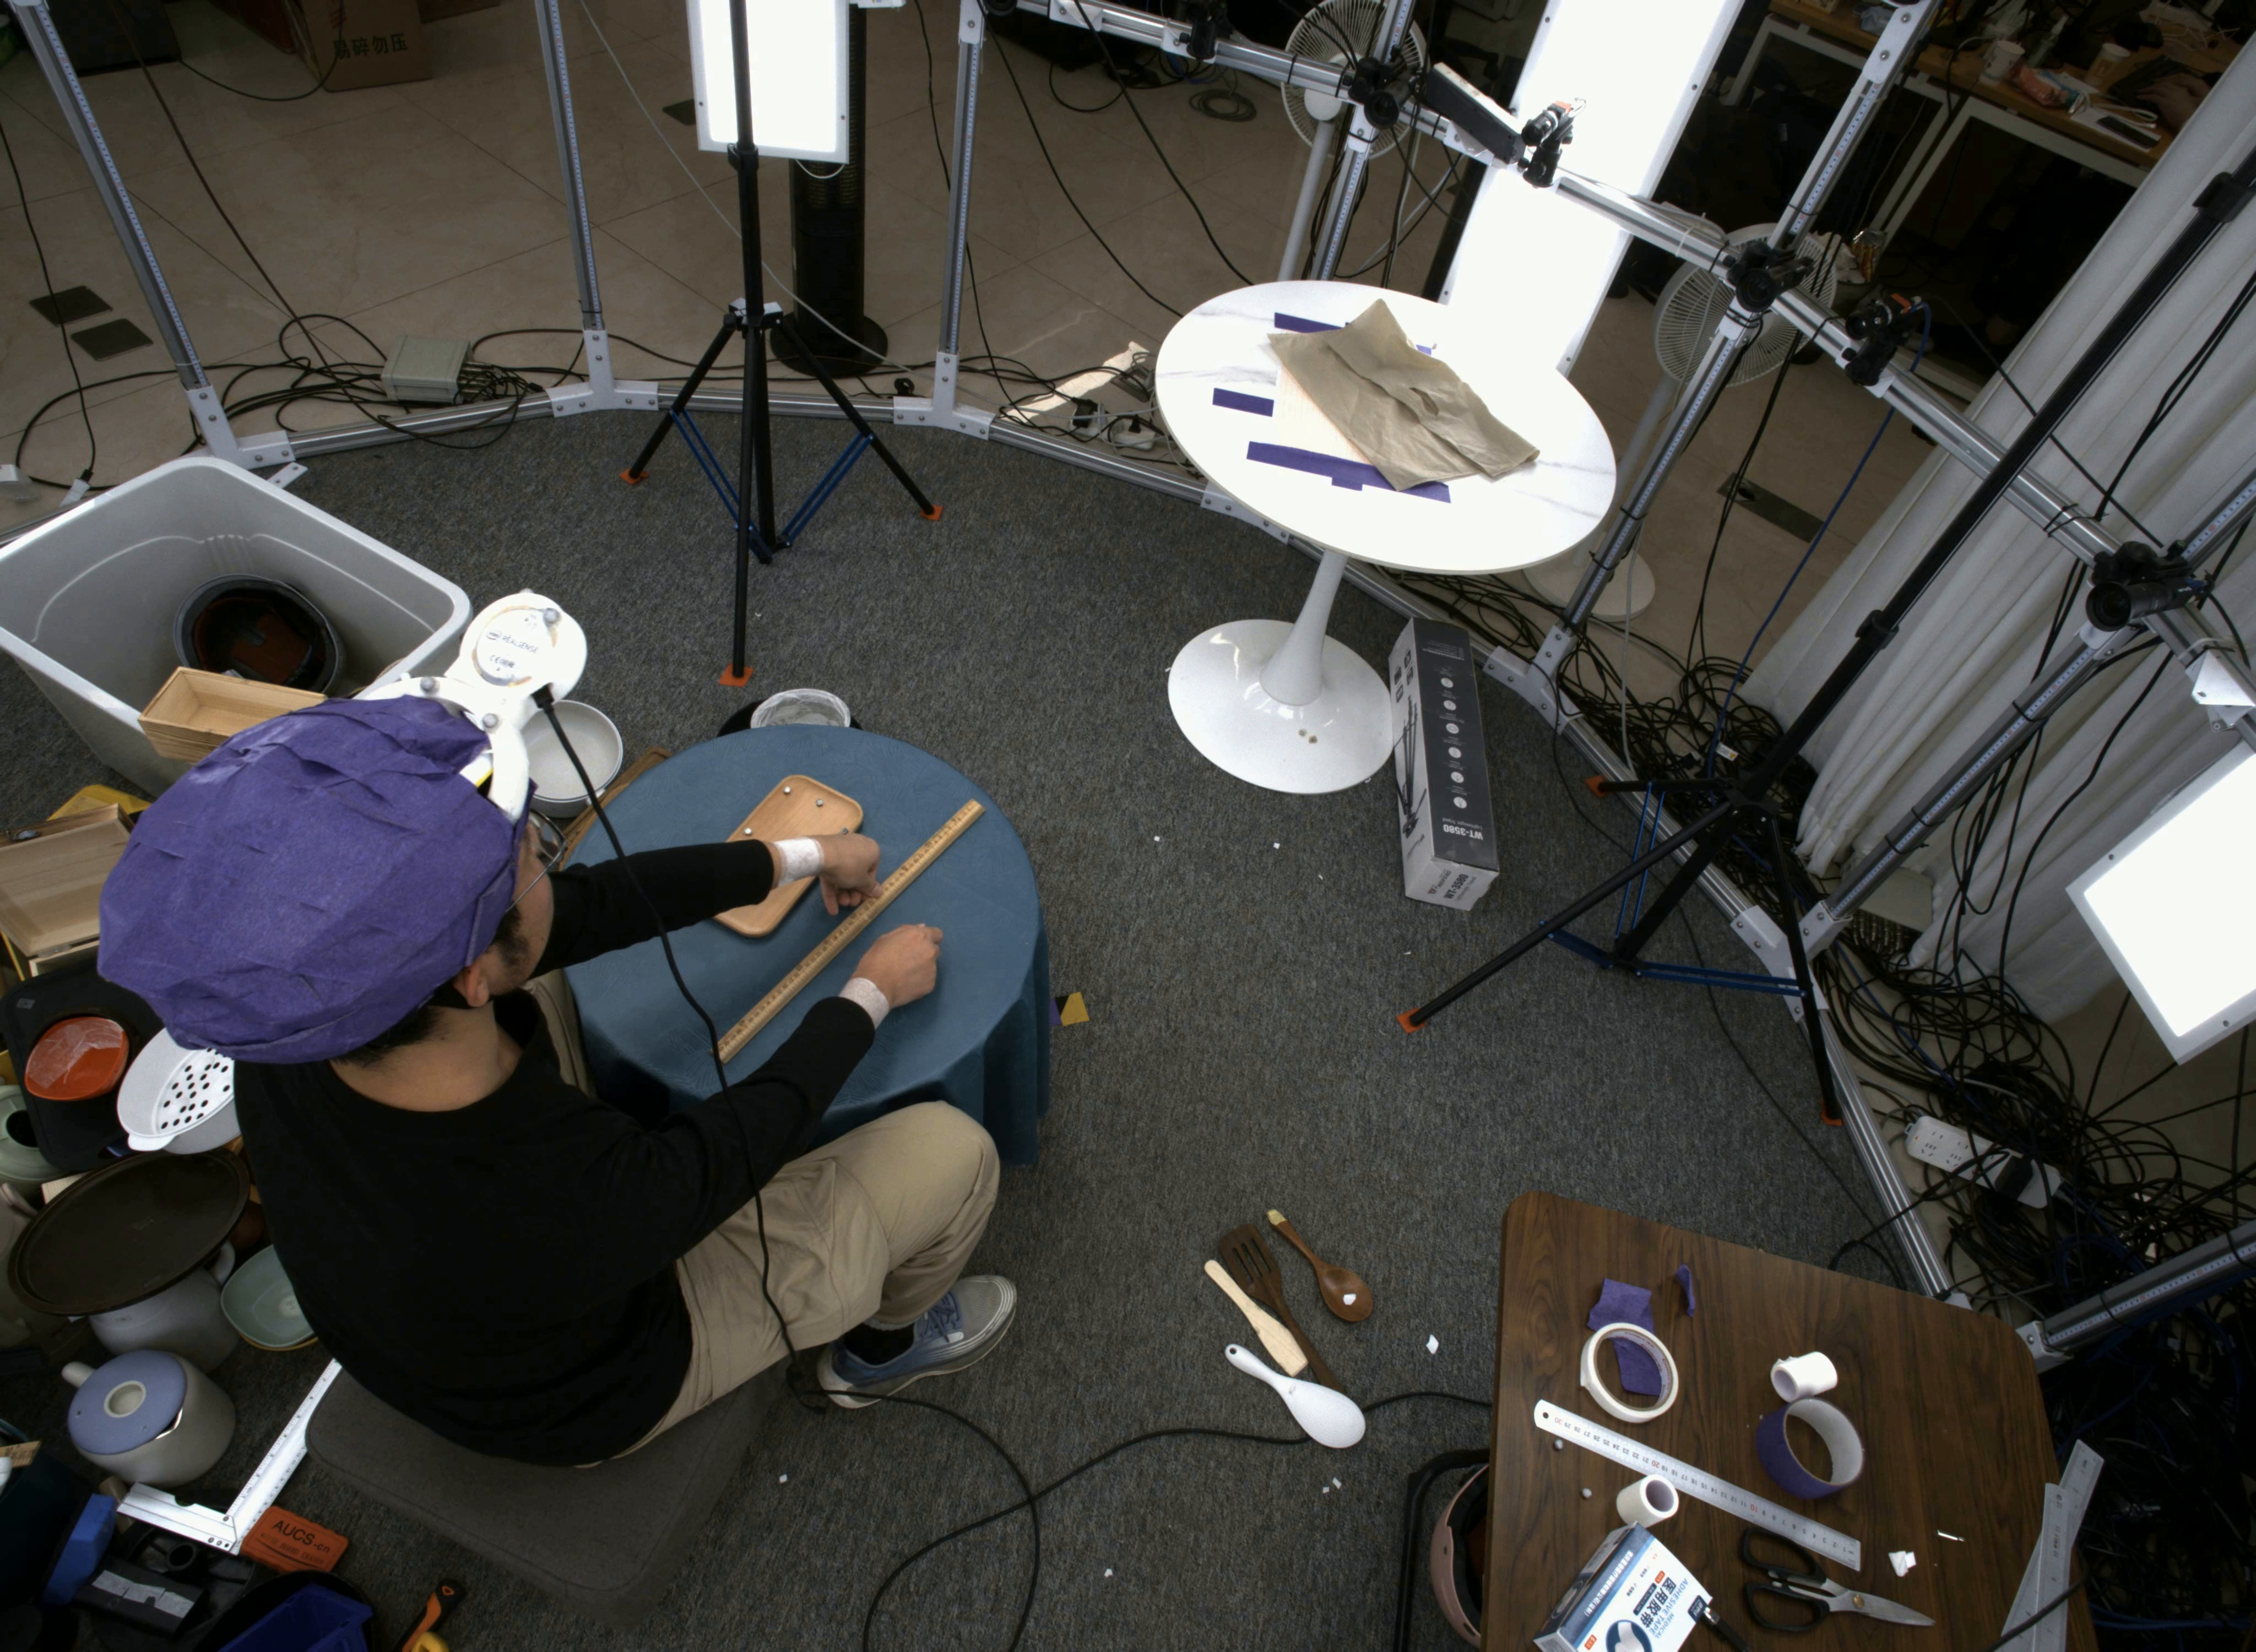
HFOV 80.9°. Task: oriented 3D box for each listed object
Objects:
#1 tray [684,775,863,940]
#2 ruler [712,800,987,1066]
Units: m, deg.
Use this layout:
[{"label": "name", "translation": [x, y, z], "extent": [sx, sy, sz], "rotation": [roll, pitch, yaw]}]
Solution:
[{"label": "tray", "translation": [-0.455, 0.036, 1.673], "extent": [0.128, 0.023, 0.249], "rotation": [27, 53, 9]}, {"label": "ruler", "translation": [-0.340, 0.118, 1.646], "extent": [0.026, 0.006, 0.499], "rotation": [40, 54, 3]}]
